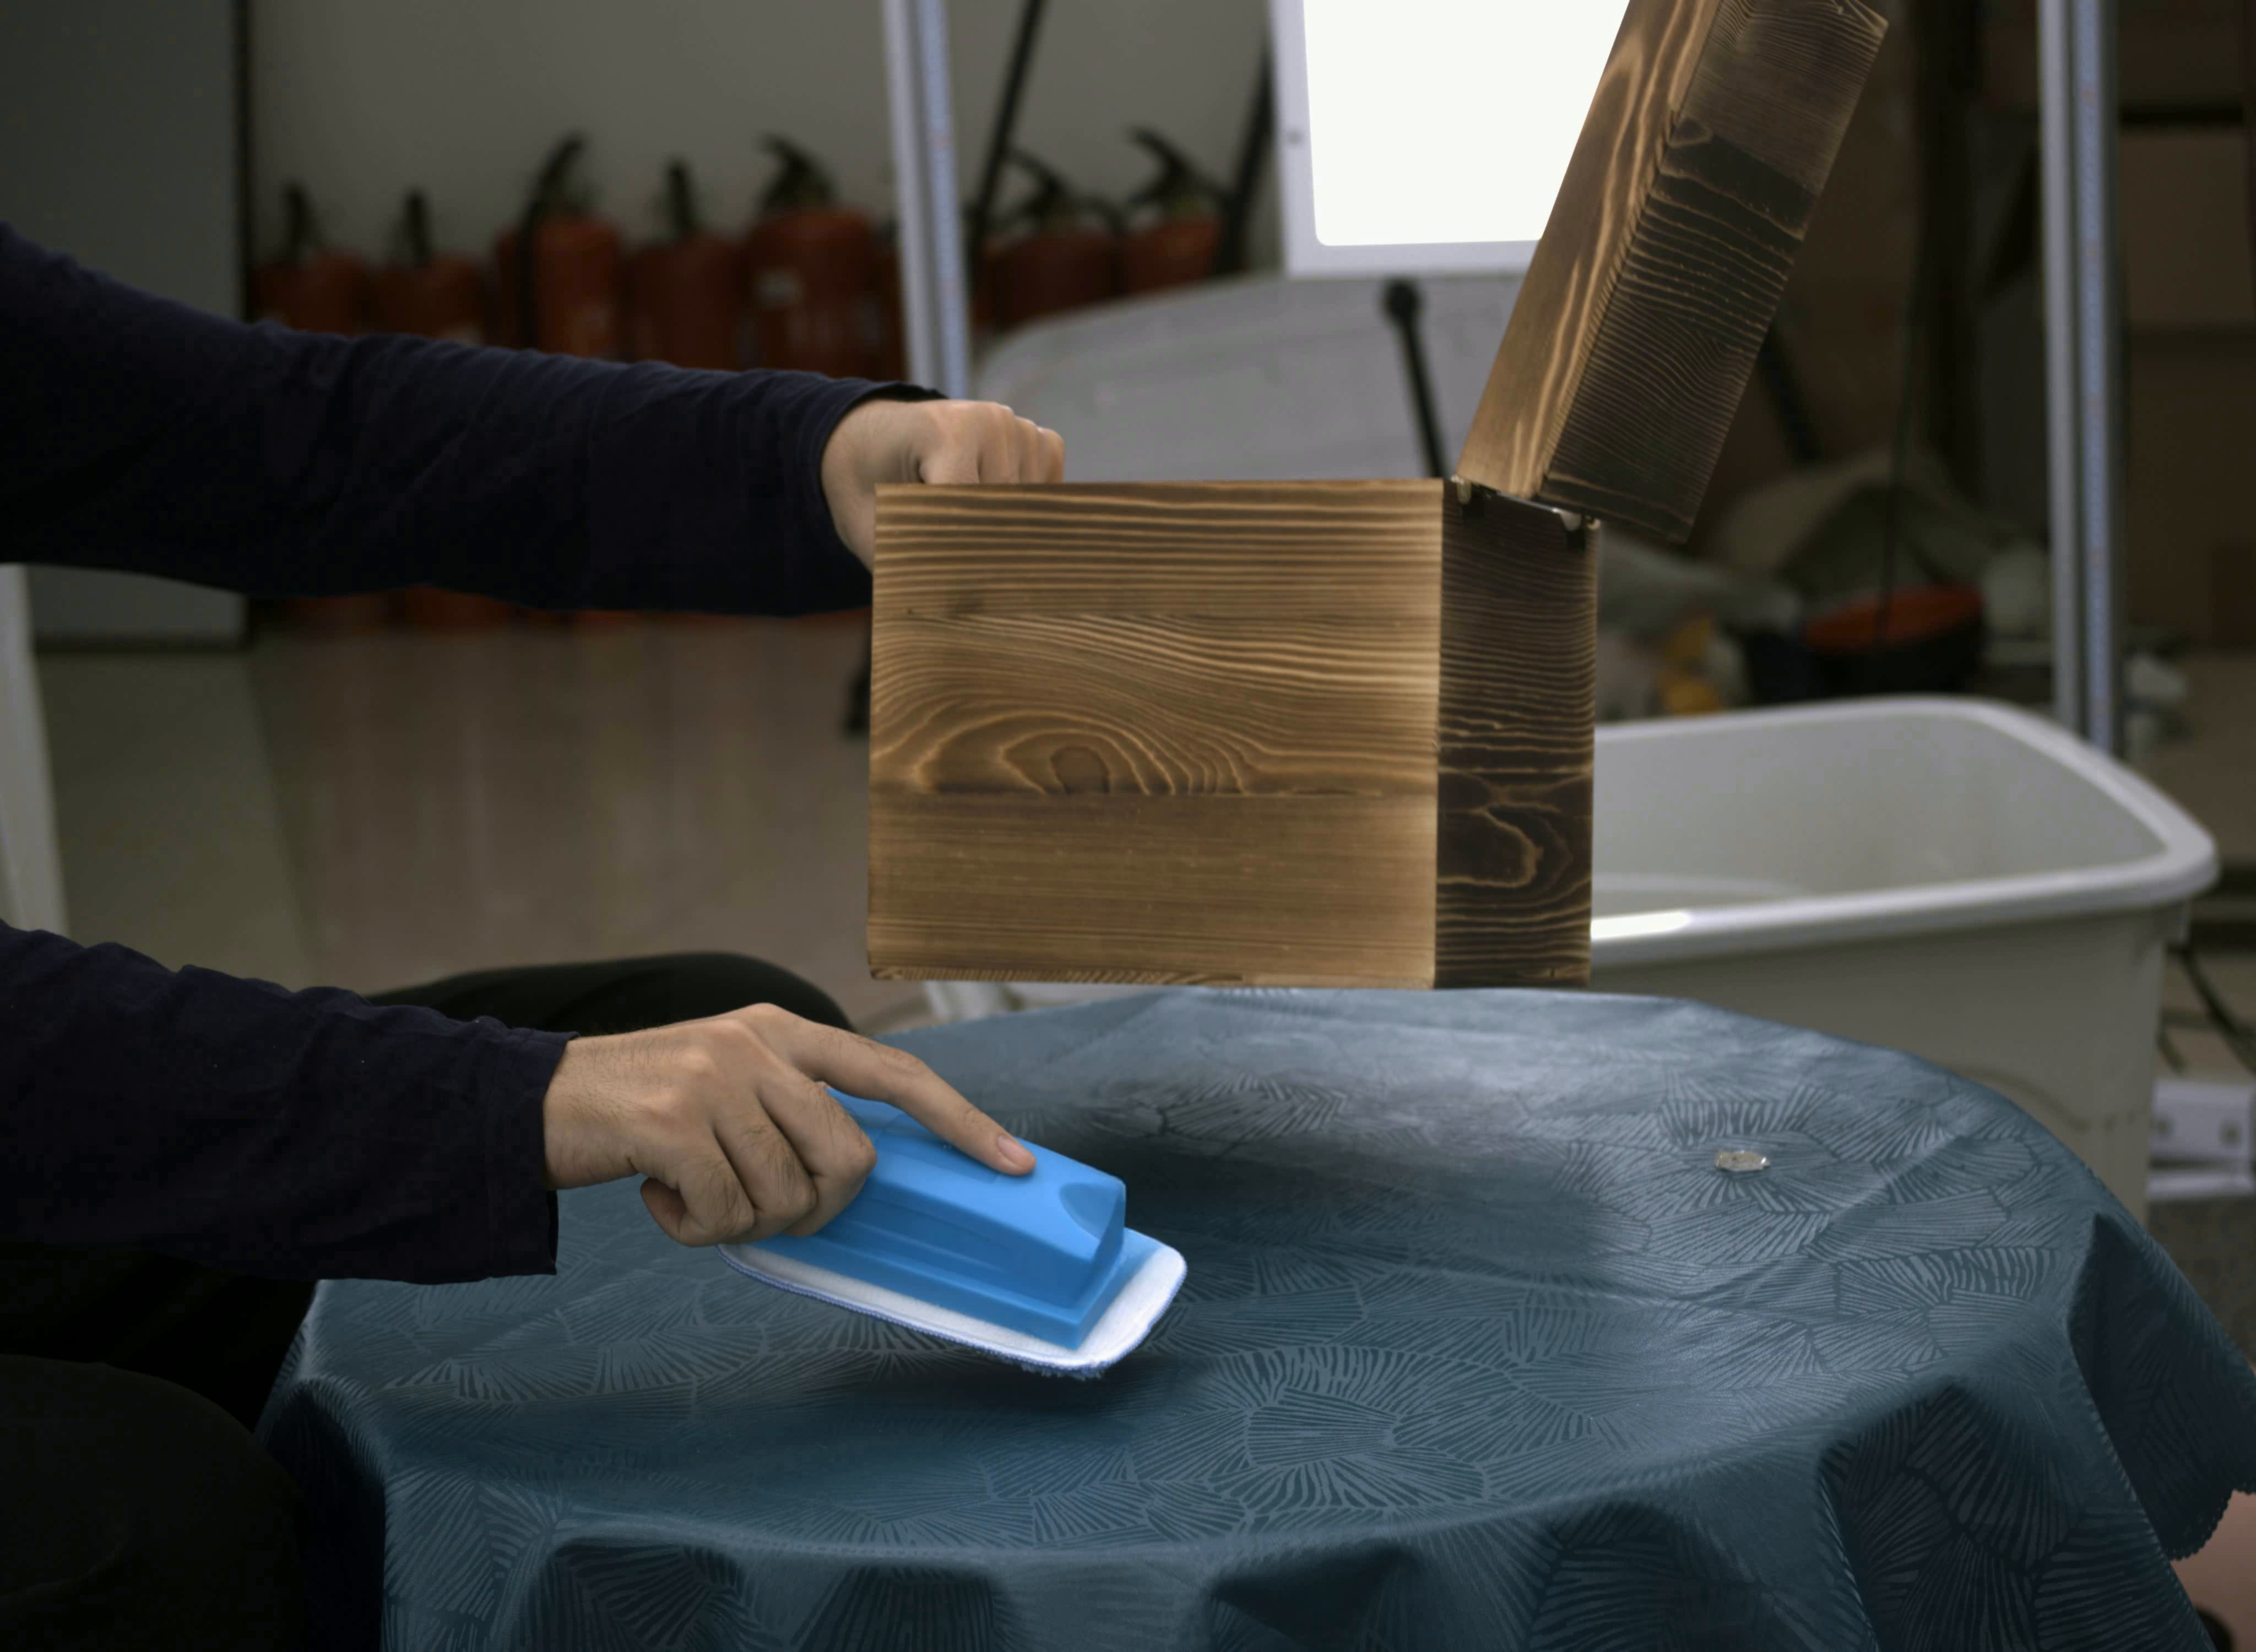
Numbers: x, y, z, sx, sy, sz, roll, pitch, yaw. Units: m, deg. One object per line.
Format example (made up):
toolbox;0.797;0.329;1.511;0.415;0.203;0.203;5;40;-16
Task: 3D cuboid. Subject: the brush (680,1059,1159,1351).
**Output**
brush;-0.062;0.114;1.713;0.145;0.056;0.082;19;28;20

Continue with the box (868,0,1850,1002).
box;0.090;-0.126;1.899;0.326;0.376;0.205;1;-2;21
